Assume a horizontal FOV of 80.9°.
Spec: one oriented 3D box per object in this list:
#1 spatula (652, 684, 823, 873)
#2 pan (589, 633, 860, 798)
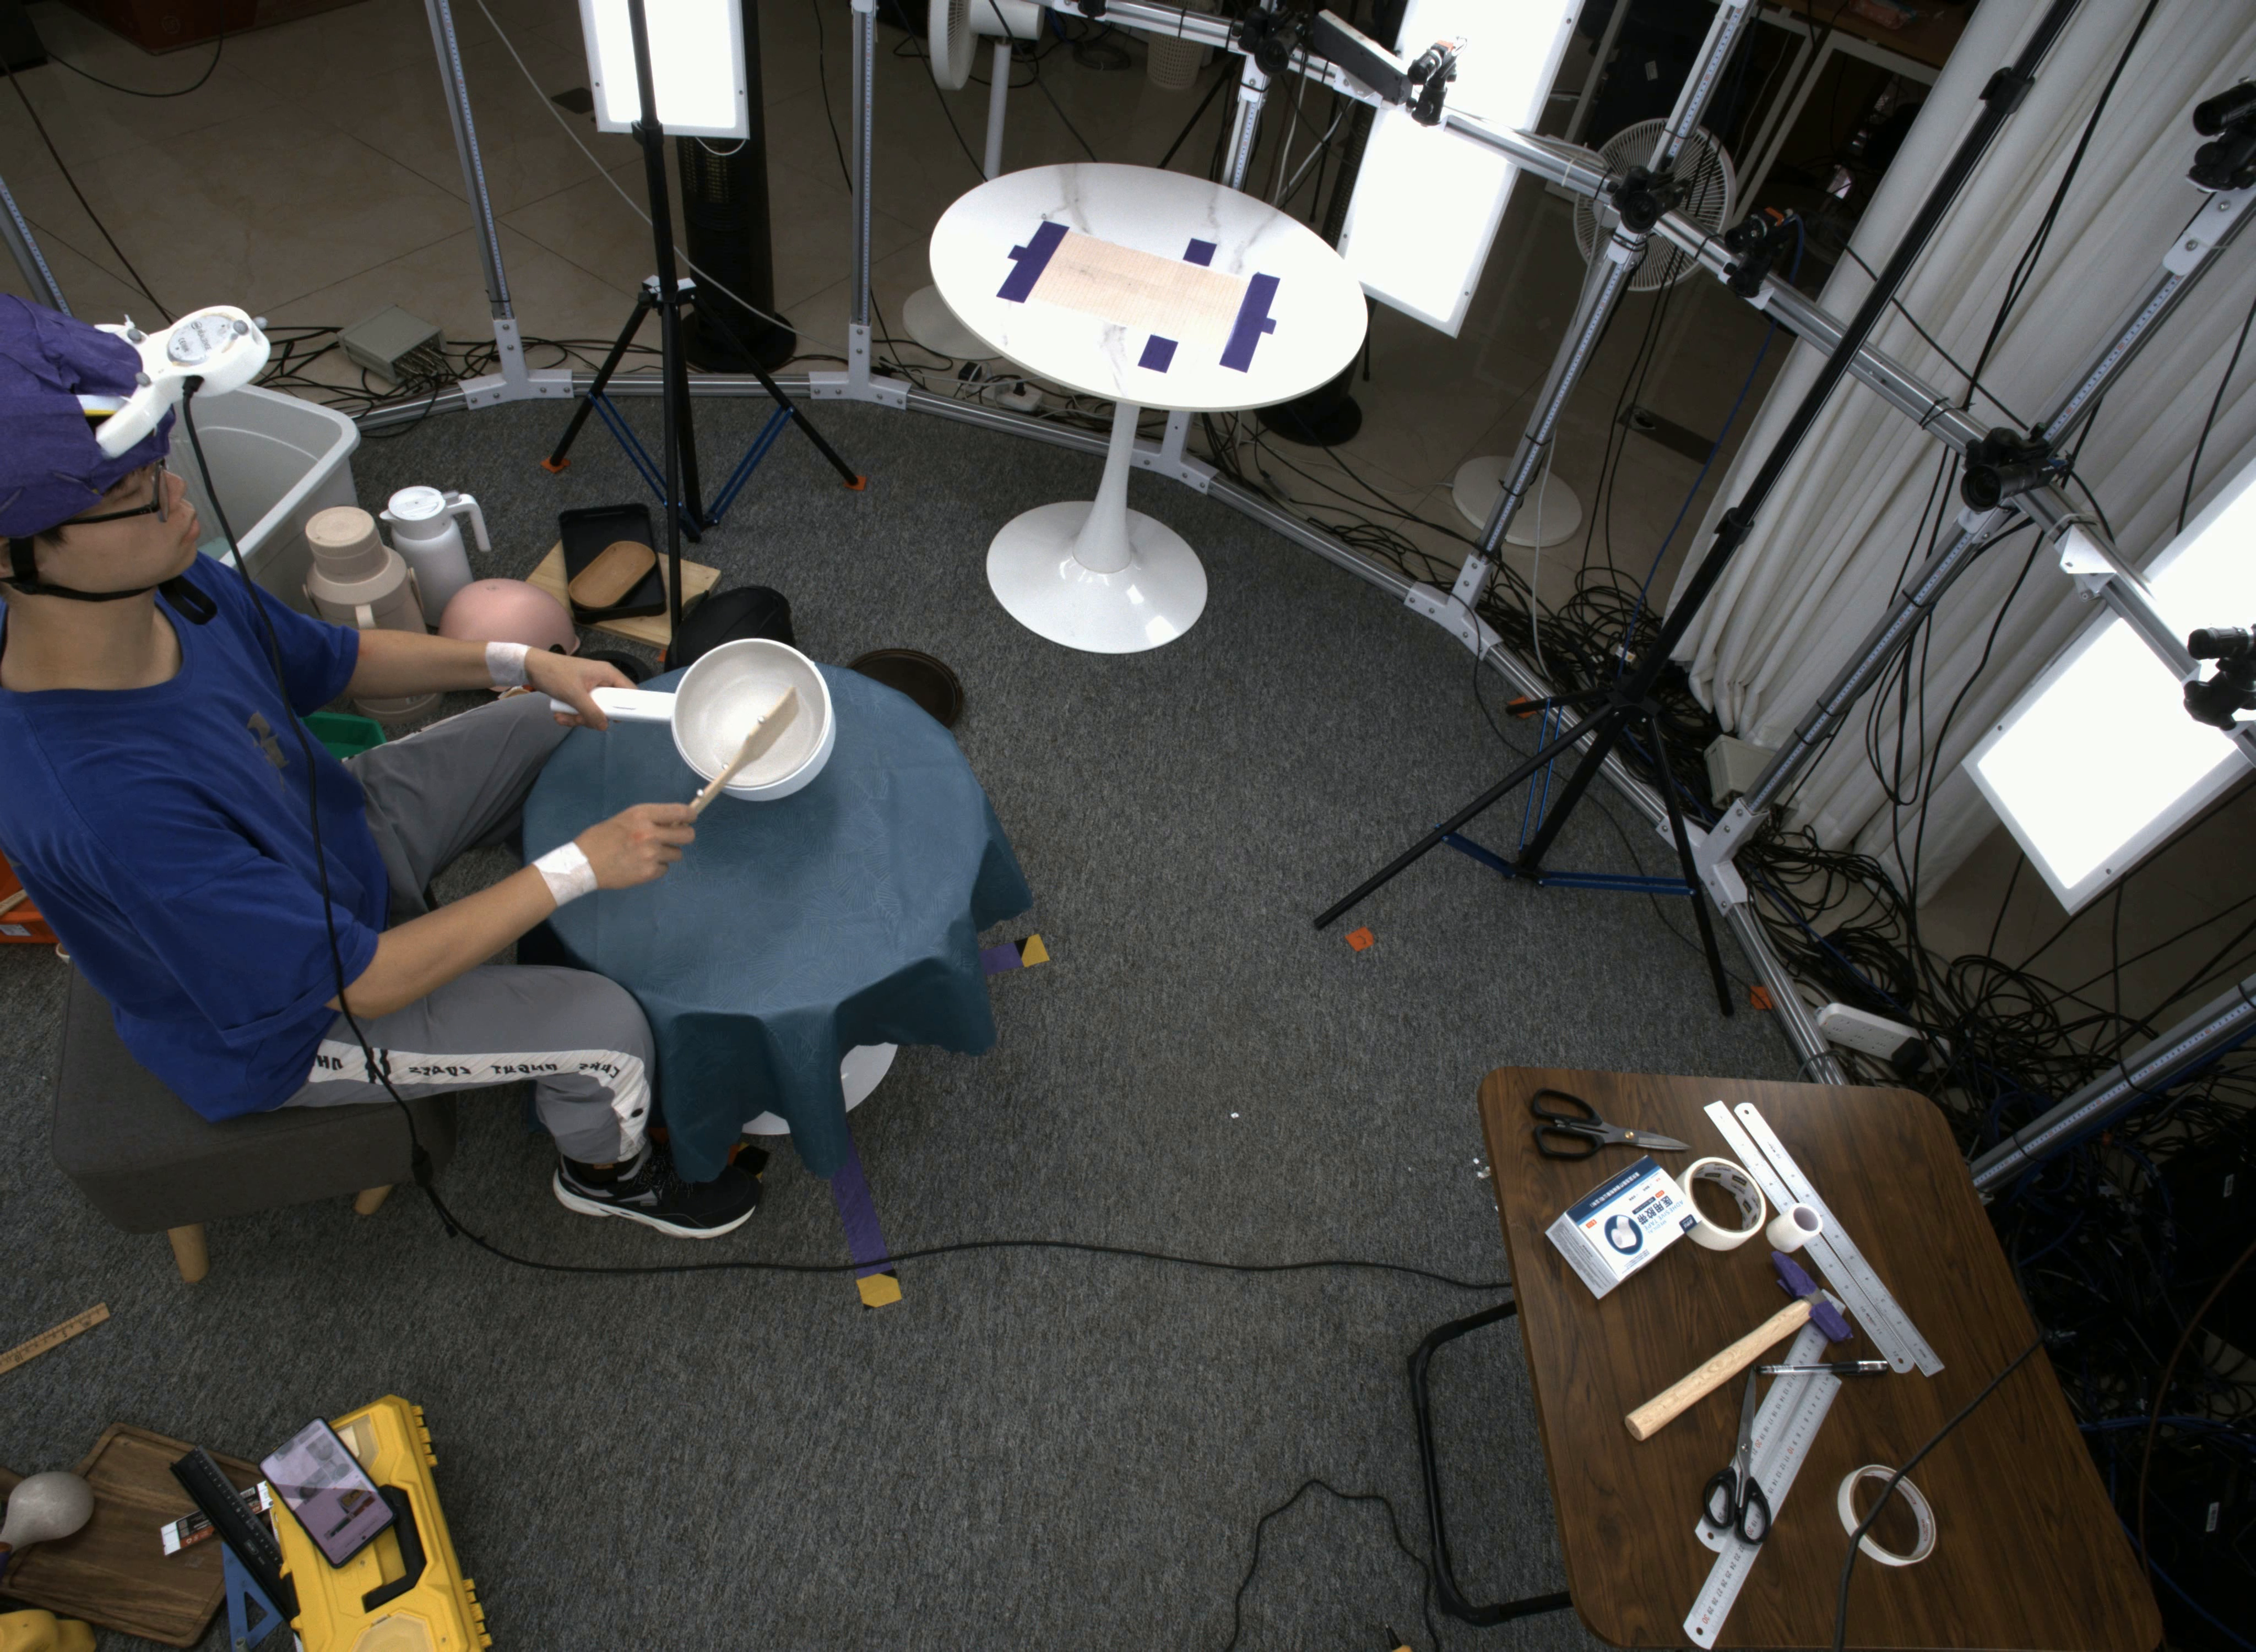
[{"bbox_3d":[-0.462,-0.055,1.536,0.010,0.073,0.293,38,69,5],"label":"spatula"},{"bbox_3d":[-0.528,-0.147,1.686,0.352,0.102,0.202,6,79,-5],"label":"pan"}]
